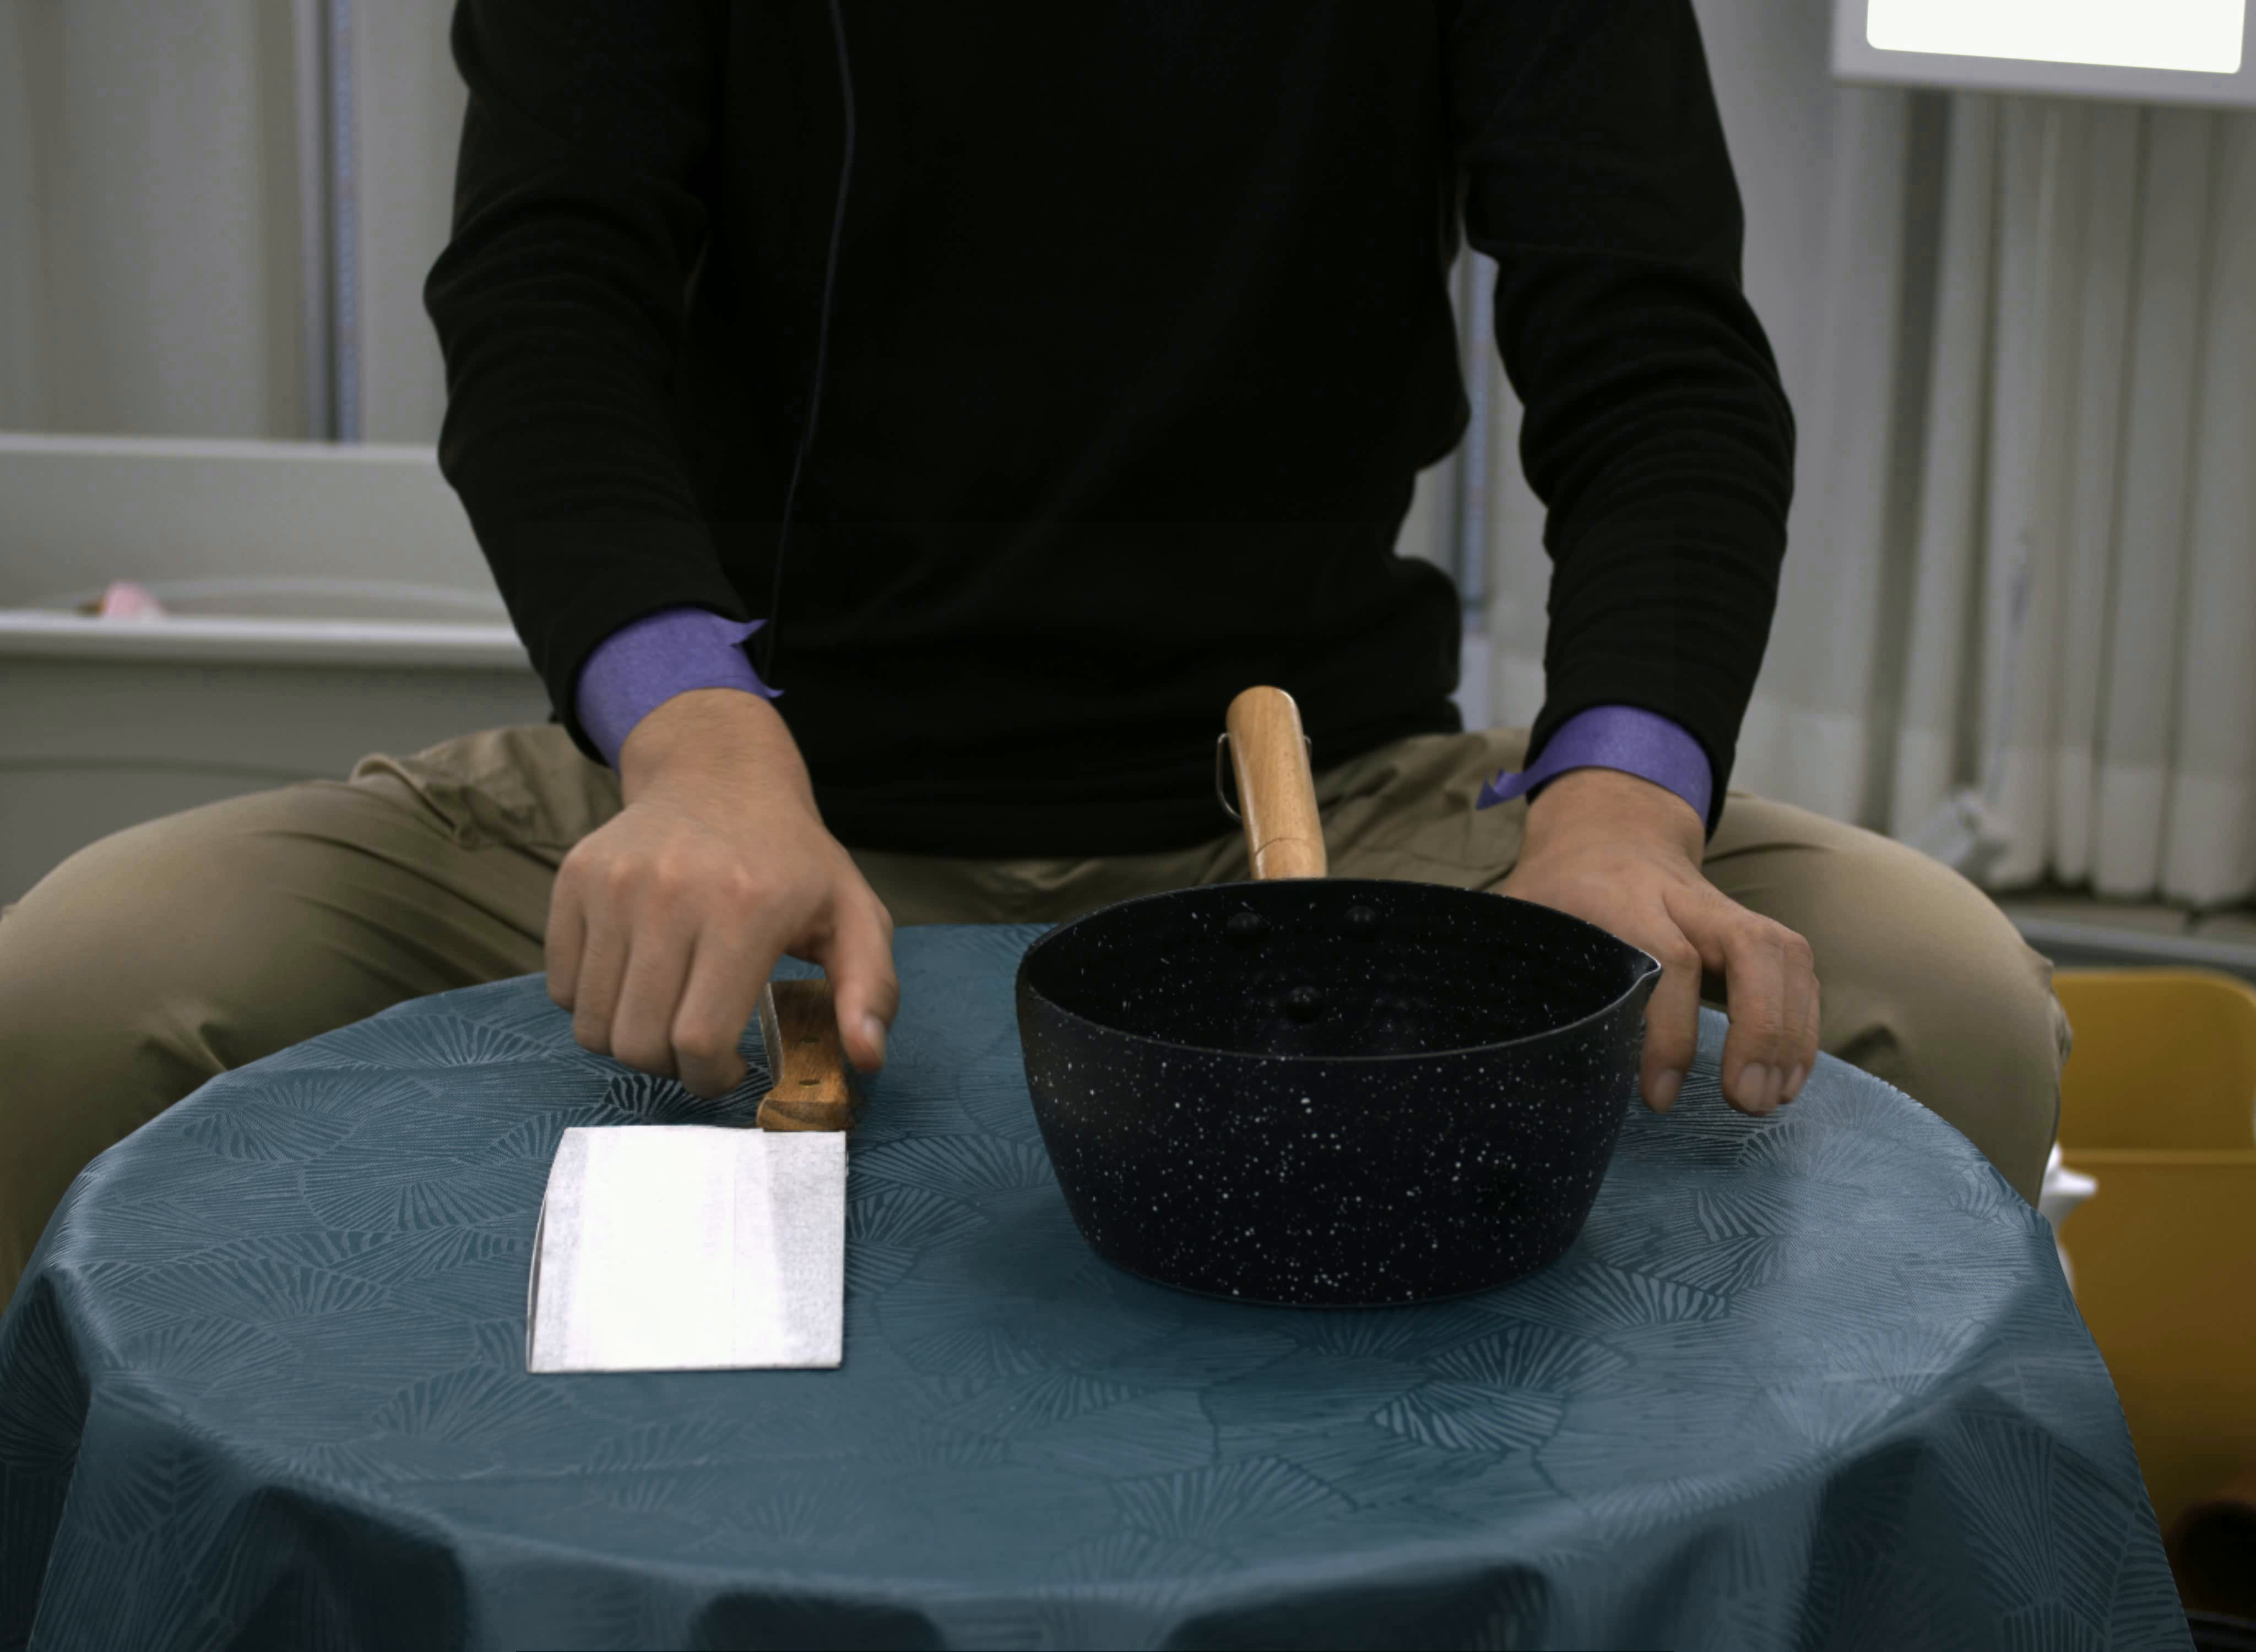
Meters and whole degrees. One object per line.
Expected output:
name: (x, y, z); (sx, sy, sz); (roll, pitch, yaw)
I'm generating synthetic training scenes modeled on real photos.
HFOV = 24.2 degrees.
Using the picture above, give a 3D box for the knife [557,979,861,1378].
knife: (-0.128, 0.106, 1.614); (0.092, 0.021, 0.303); (-1, 18, -2)

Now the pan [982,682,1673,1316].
pan: (0.054, 0.049, 1.654); (0.207, 0.109, 0.340); (-1, 17, -5)
